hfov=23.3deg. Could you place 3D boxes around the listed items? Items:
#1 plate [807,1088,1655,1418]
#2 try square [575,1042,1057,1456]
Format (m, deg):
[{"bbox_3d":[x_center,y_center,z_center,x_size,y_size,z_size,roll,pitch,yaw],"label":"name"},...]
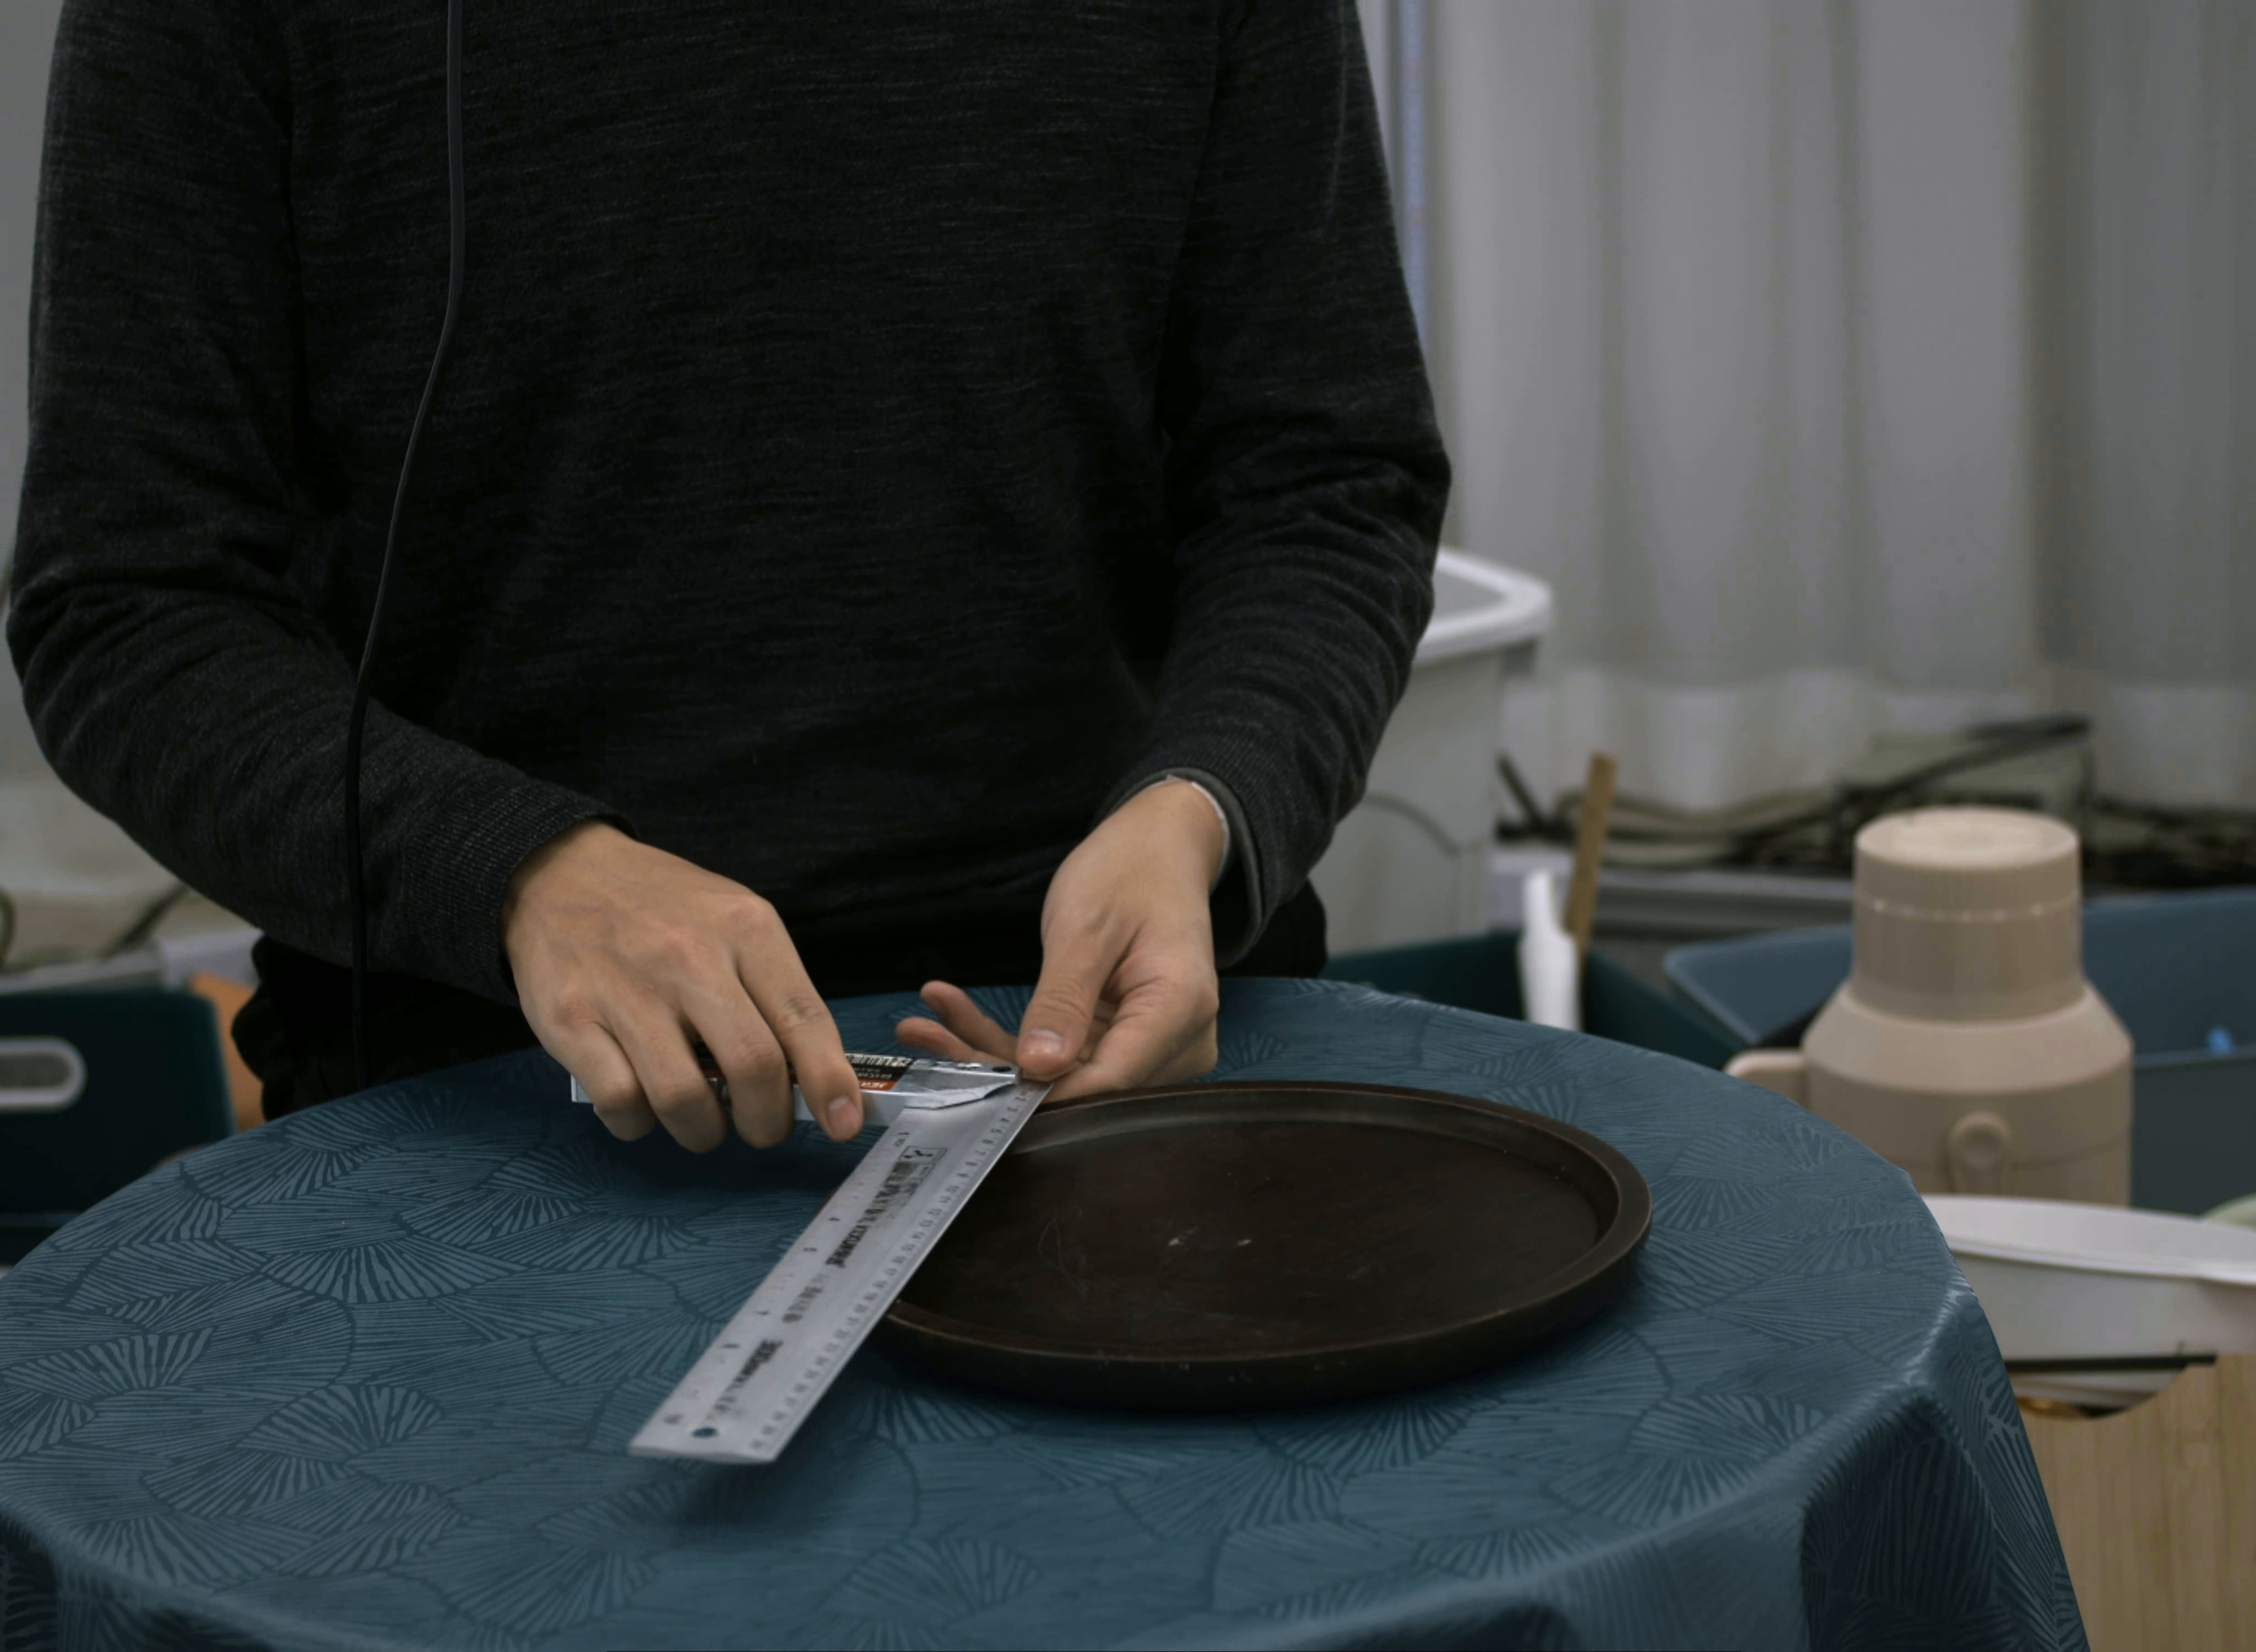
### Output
[{"bbox_3d":[0.030,0.124,1.628,0.254,0.029,0.256,-3,16,1],"label":"plate"},{"bbox_3d":[-0.131,0.121,1.613,0.152,0.016,0.314,3,16,14],"label":"try square"}]
